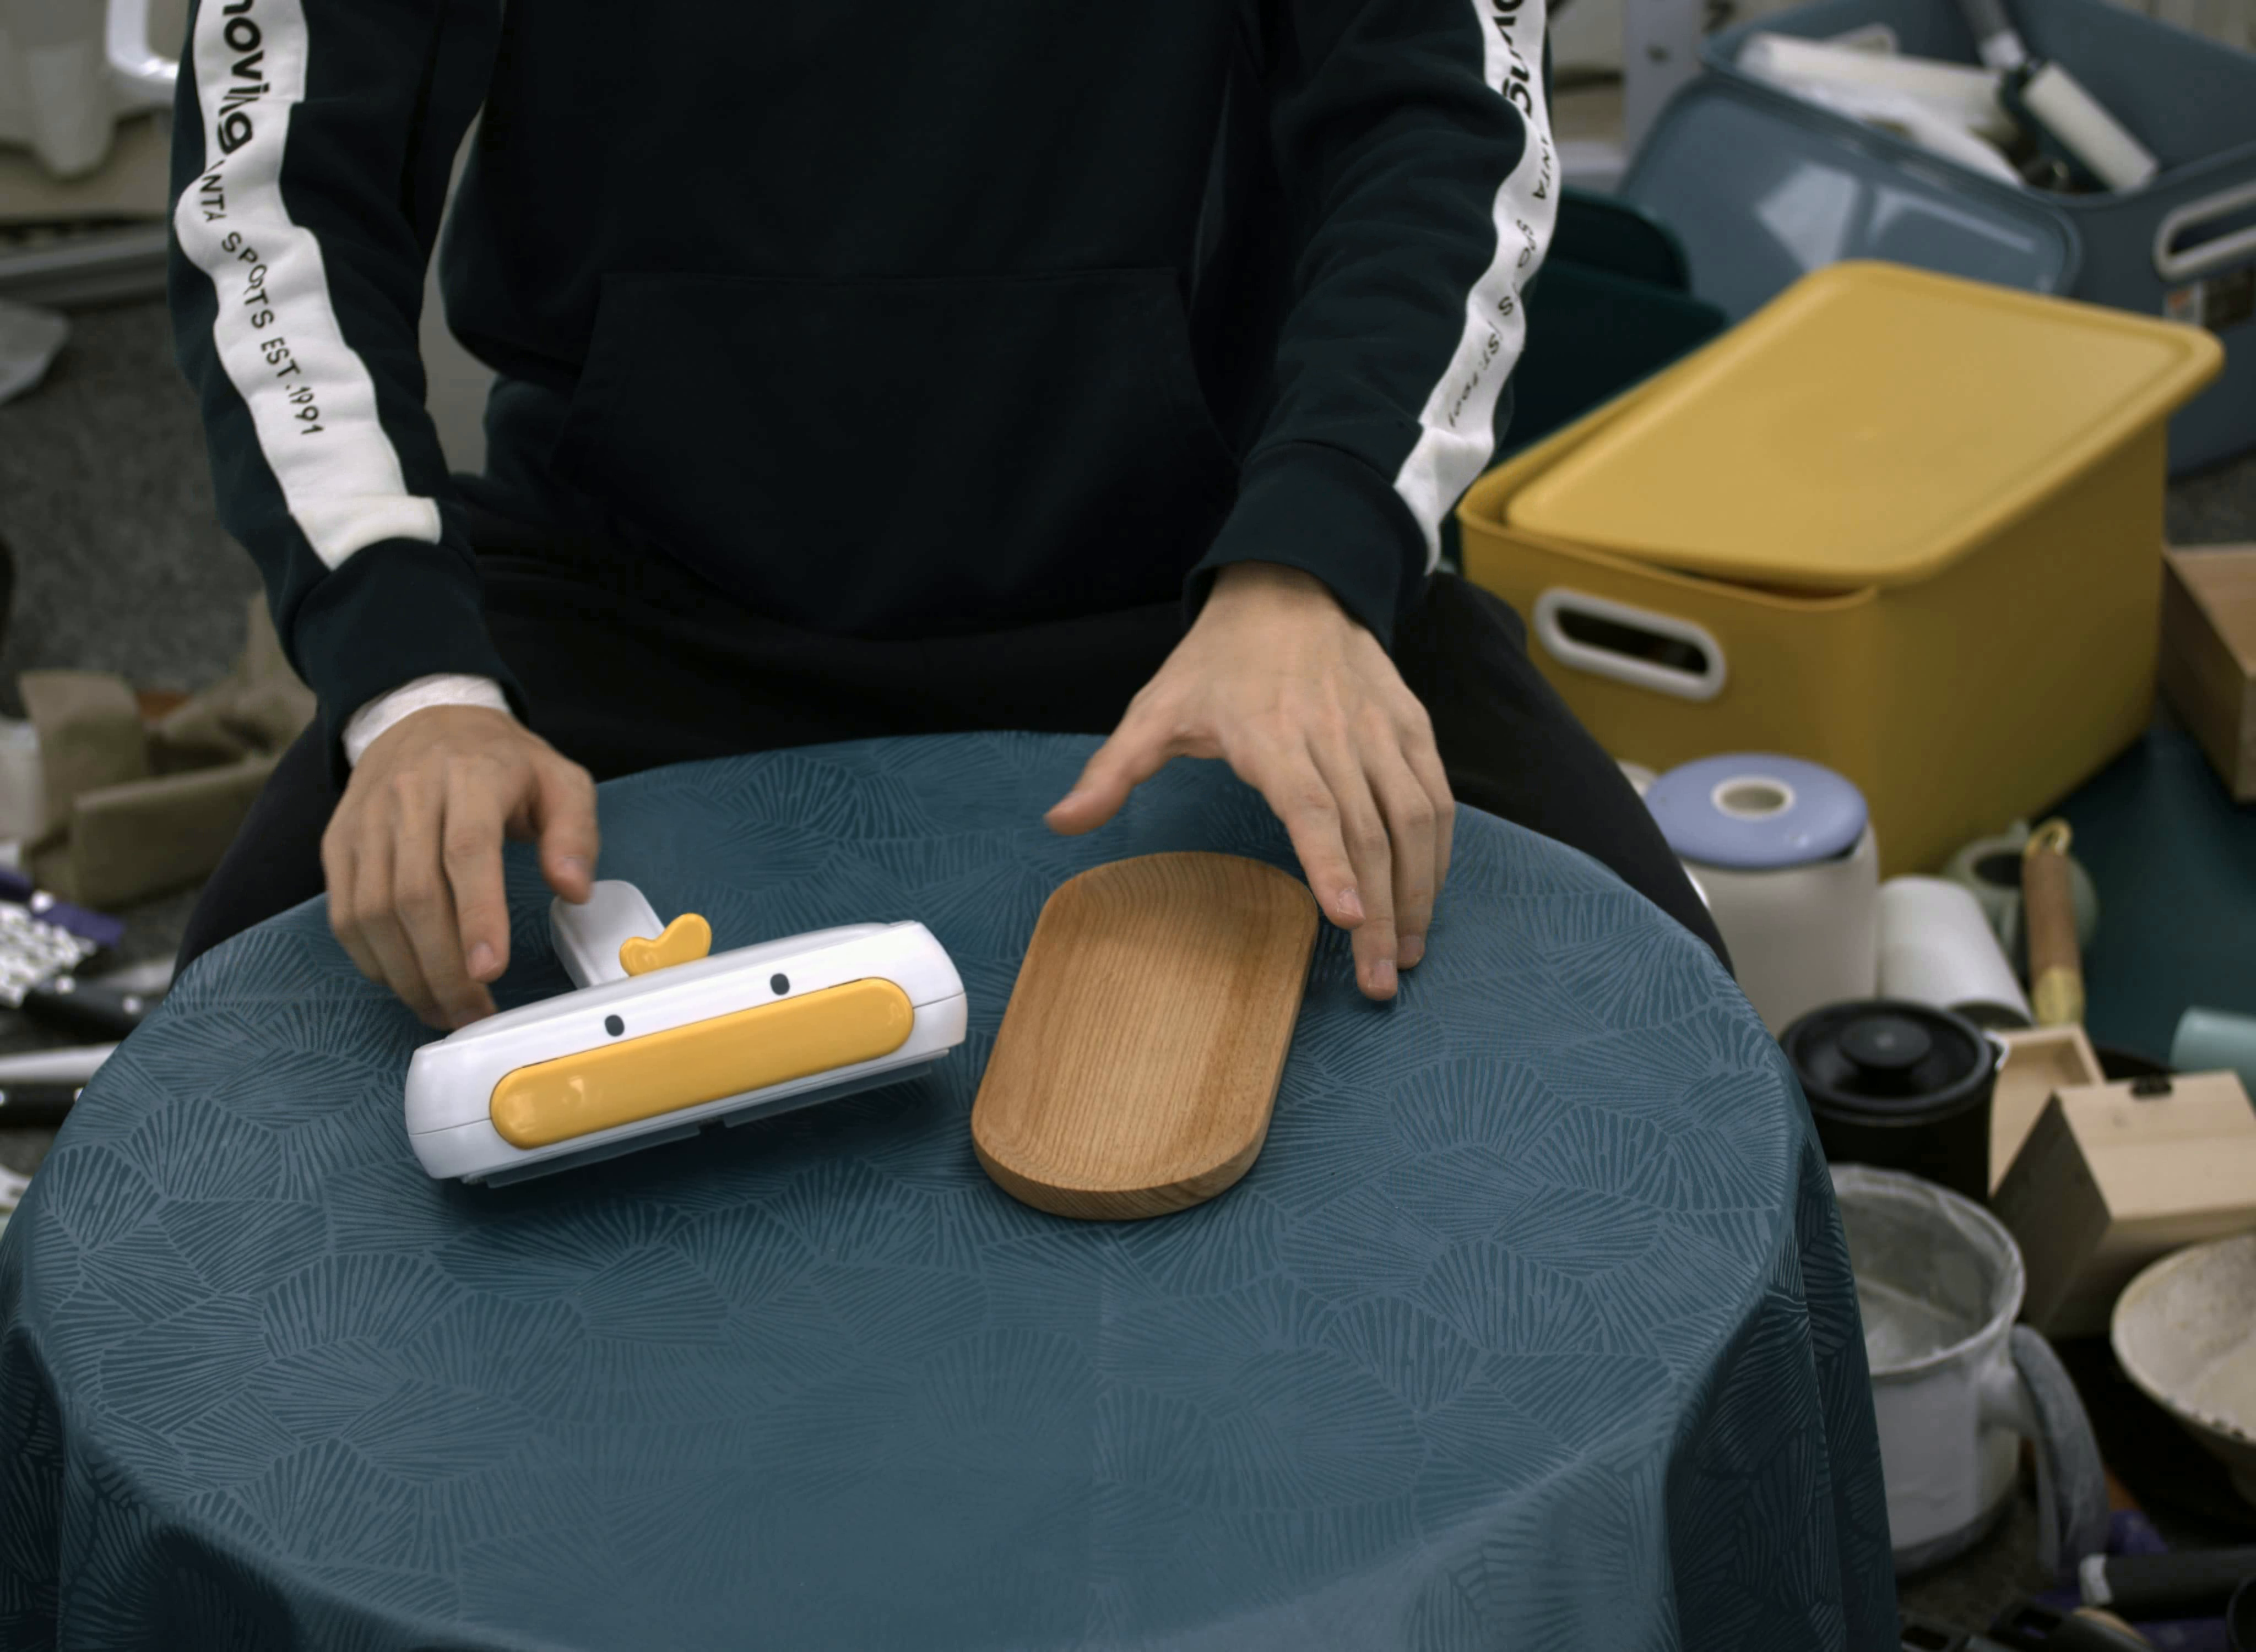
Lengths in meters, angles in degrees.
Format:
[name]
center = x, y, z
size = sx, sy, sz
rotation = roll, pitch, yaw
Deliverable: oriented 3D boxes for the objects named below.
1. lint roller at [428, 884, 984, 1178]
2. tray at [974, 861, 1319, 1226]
[lint roller]
center = -0.163, 0.060, 1.942
size = 0.193, 0.074, 0.192
rotation = -19, 12, -17
[tray]
center = 0.008, 0.073, 1.936
size = 0.101, 0.020, 0.235
rotation = 1, 29, 8
